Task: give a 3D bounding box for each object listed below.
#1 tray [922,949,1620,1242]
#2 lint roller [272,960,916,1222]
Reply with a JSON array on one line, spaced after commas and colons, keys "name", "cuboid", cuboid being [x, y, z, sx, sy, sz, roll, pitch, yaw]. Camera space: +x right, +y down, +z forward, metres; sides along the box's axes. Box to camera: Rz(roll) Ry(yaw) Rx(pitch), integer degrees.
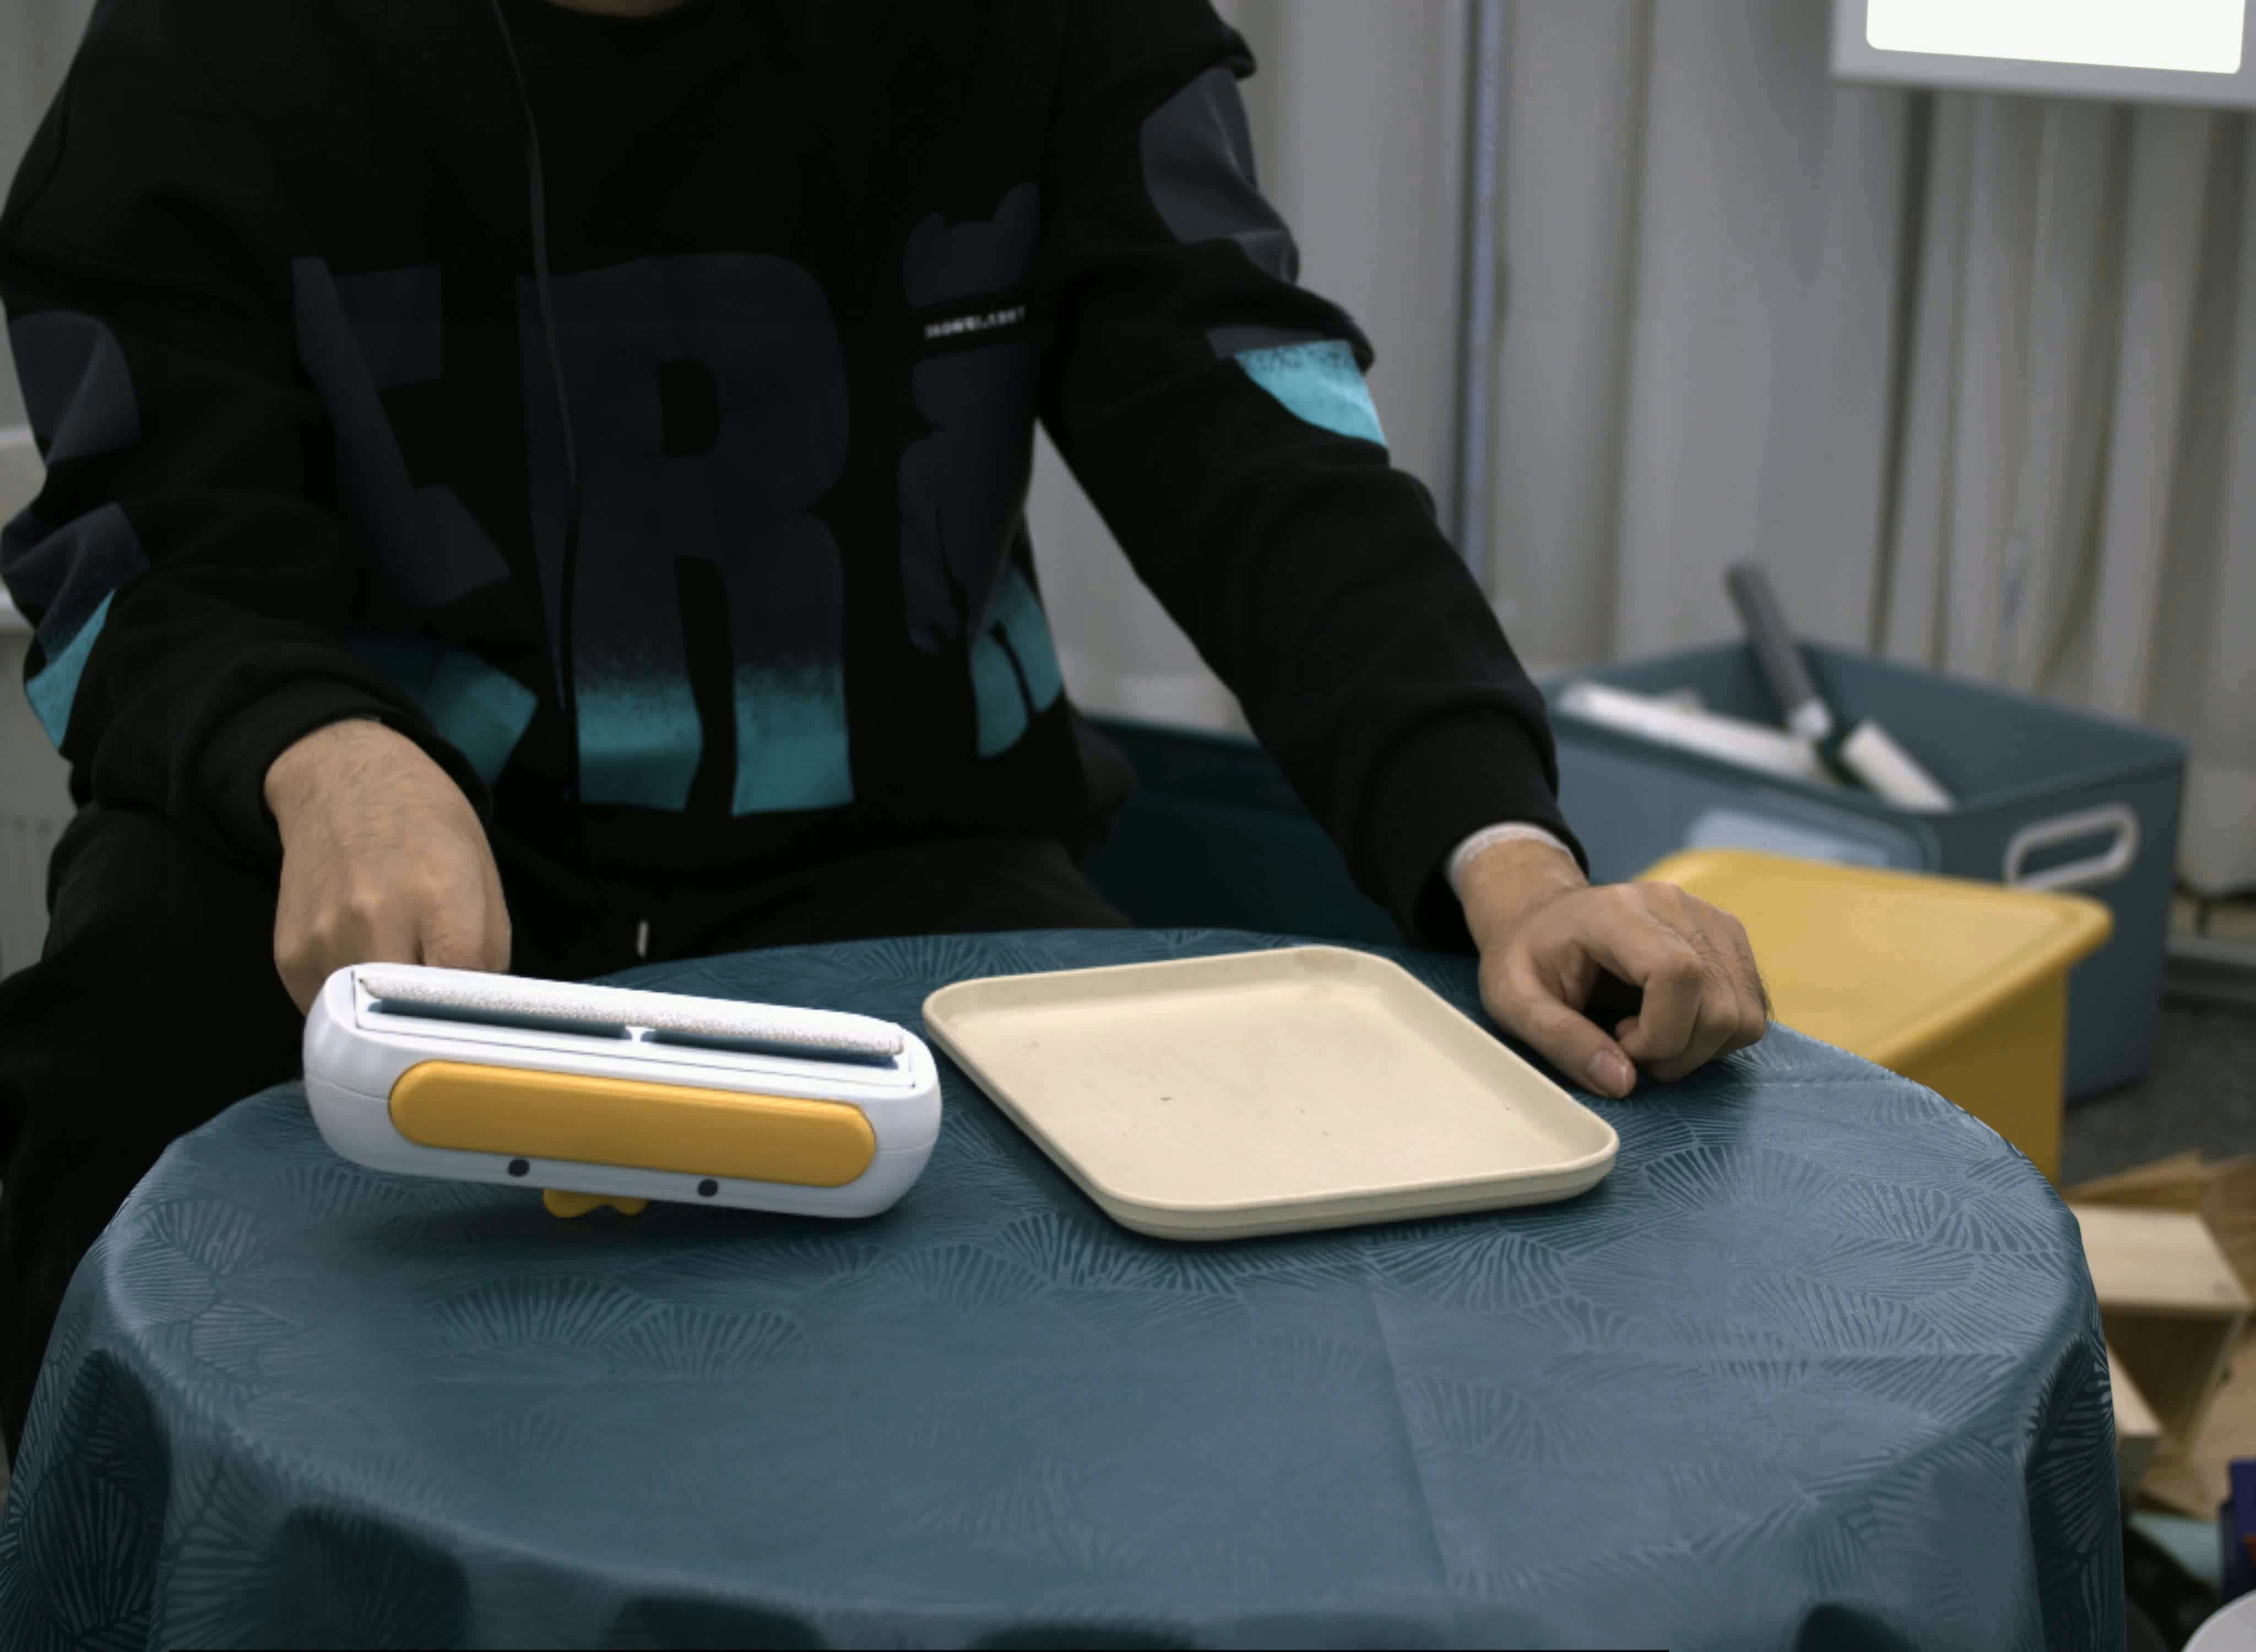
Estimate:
[{"name": "tray", "cuboid": [0.042, 0.085, 1.687, 0.171, 0.017, 0.237, -5, 16, -18]}, {"name": "lint roller", "cuboid": [-0.167, 0.072, 1.634, 0.193, 0.075, 0.191, 3, 13, -9]}]
